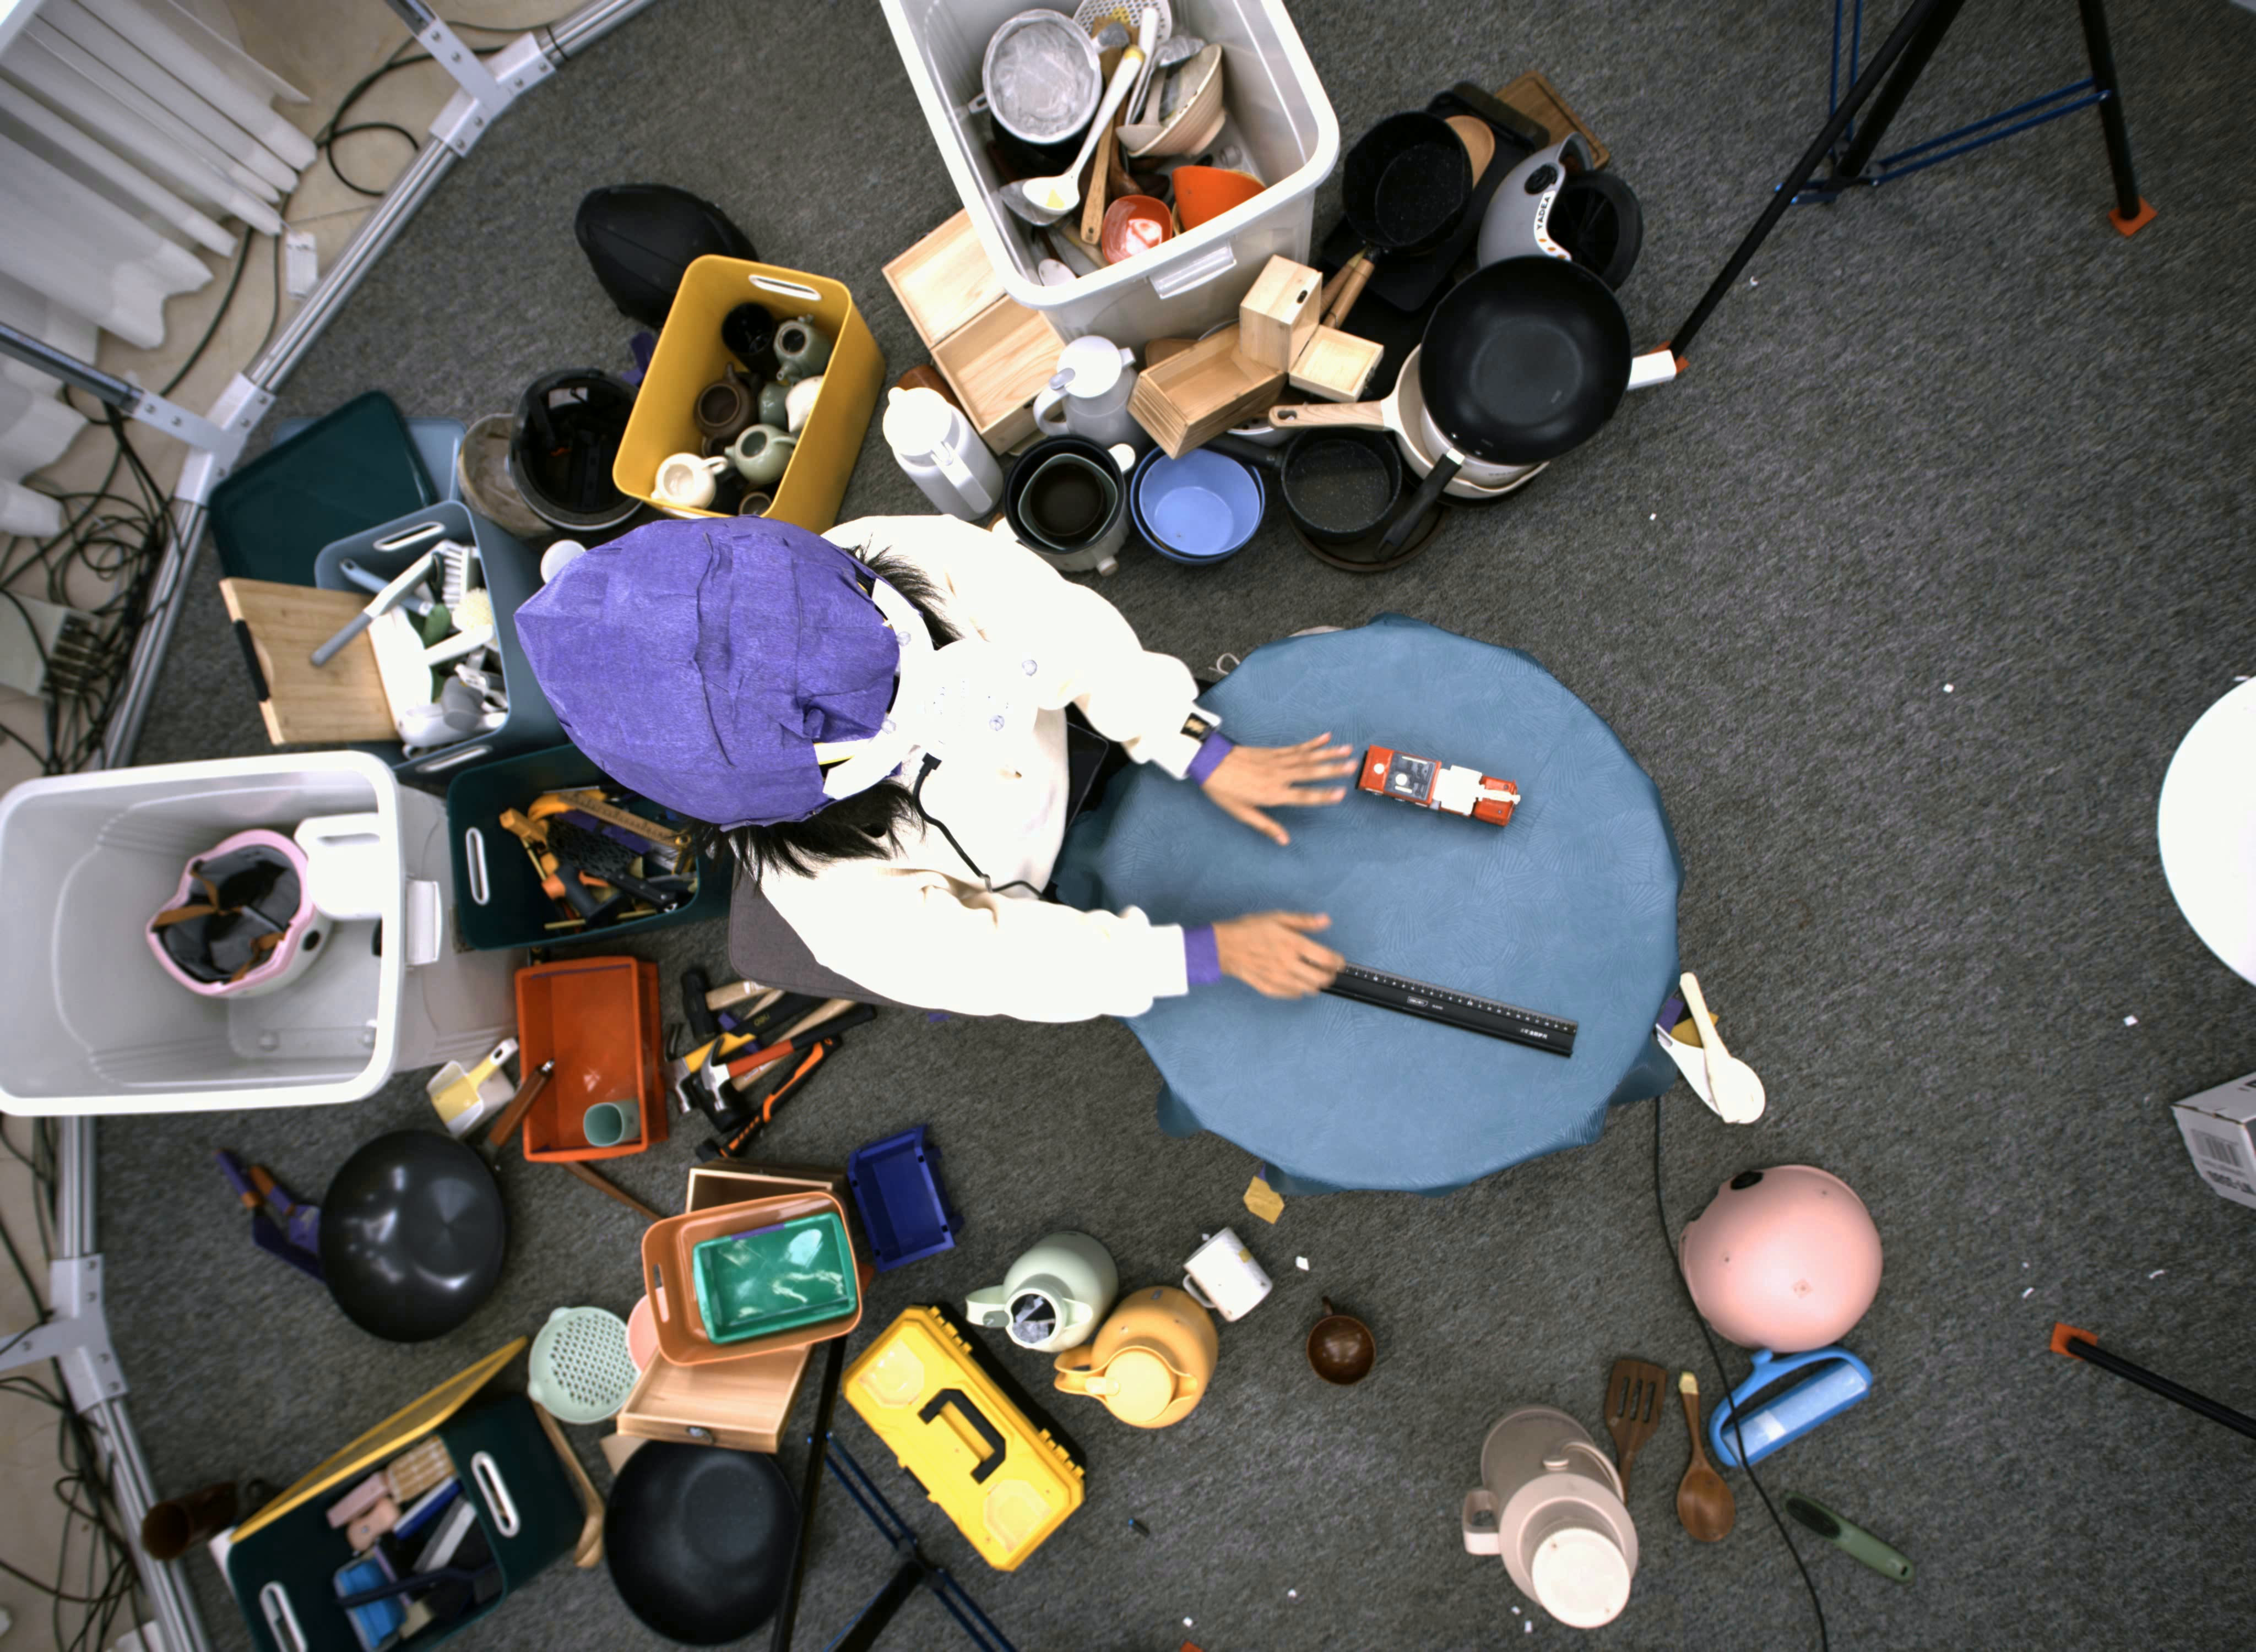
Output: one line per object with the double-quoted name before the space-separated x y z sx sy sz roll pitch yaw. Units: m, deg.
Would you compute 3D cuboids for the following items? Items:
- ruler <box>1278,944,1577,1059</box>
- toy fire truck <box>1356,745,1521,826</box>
"ruler" 0.310 0.180 1.438 0.313 0.017 0.039 15 86 11
"toy fire truck" 0.322 -0.044 1.427 0.168 0.070 0.054 15 88 12
